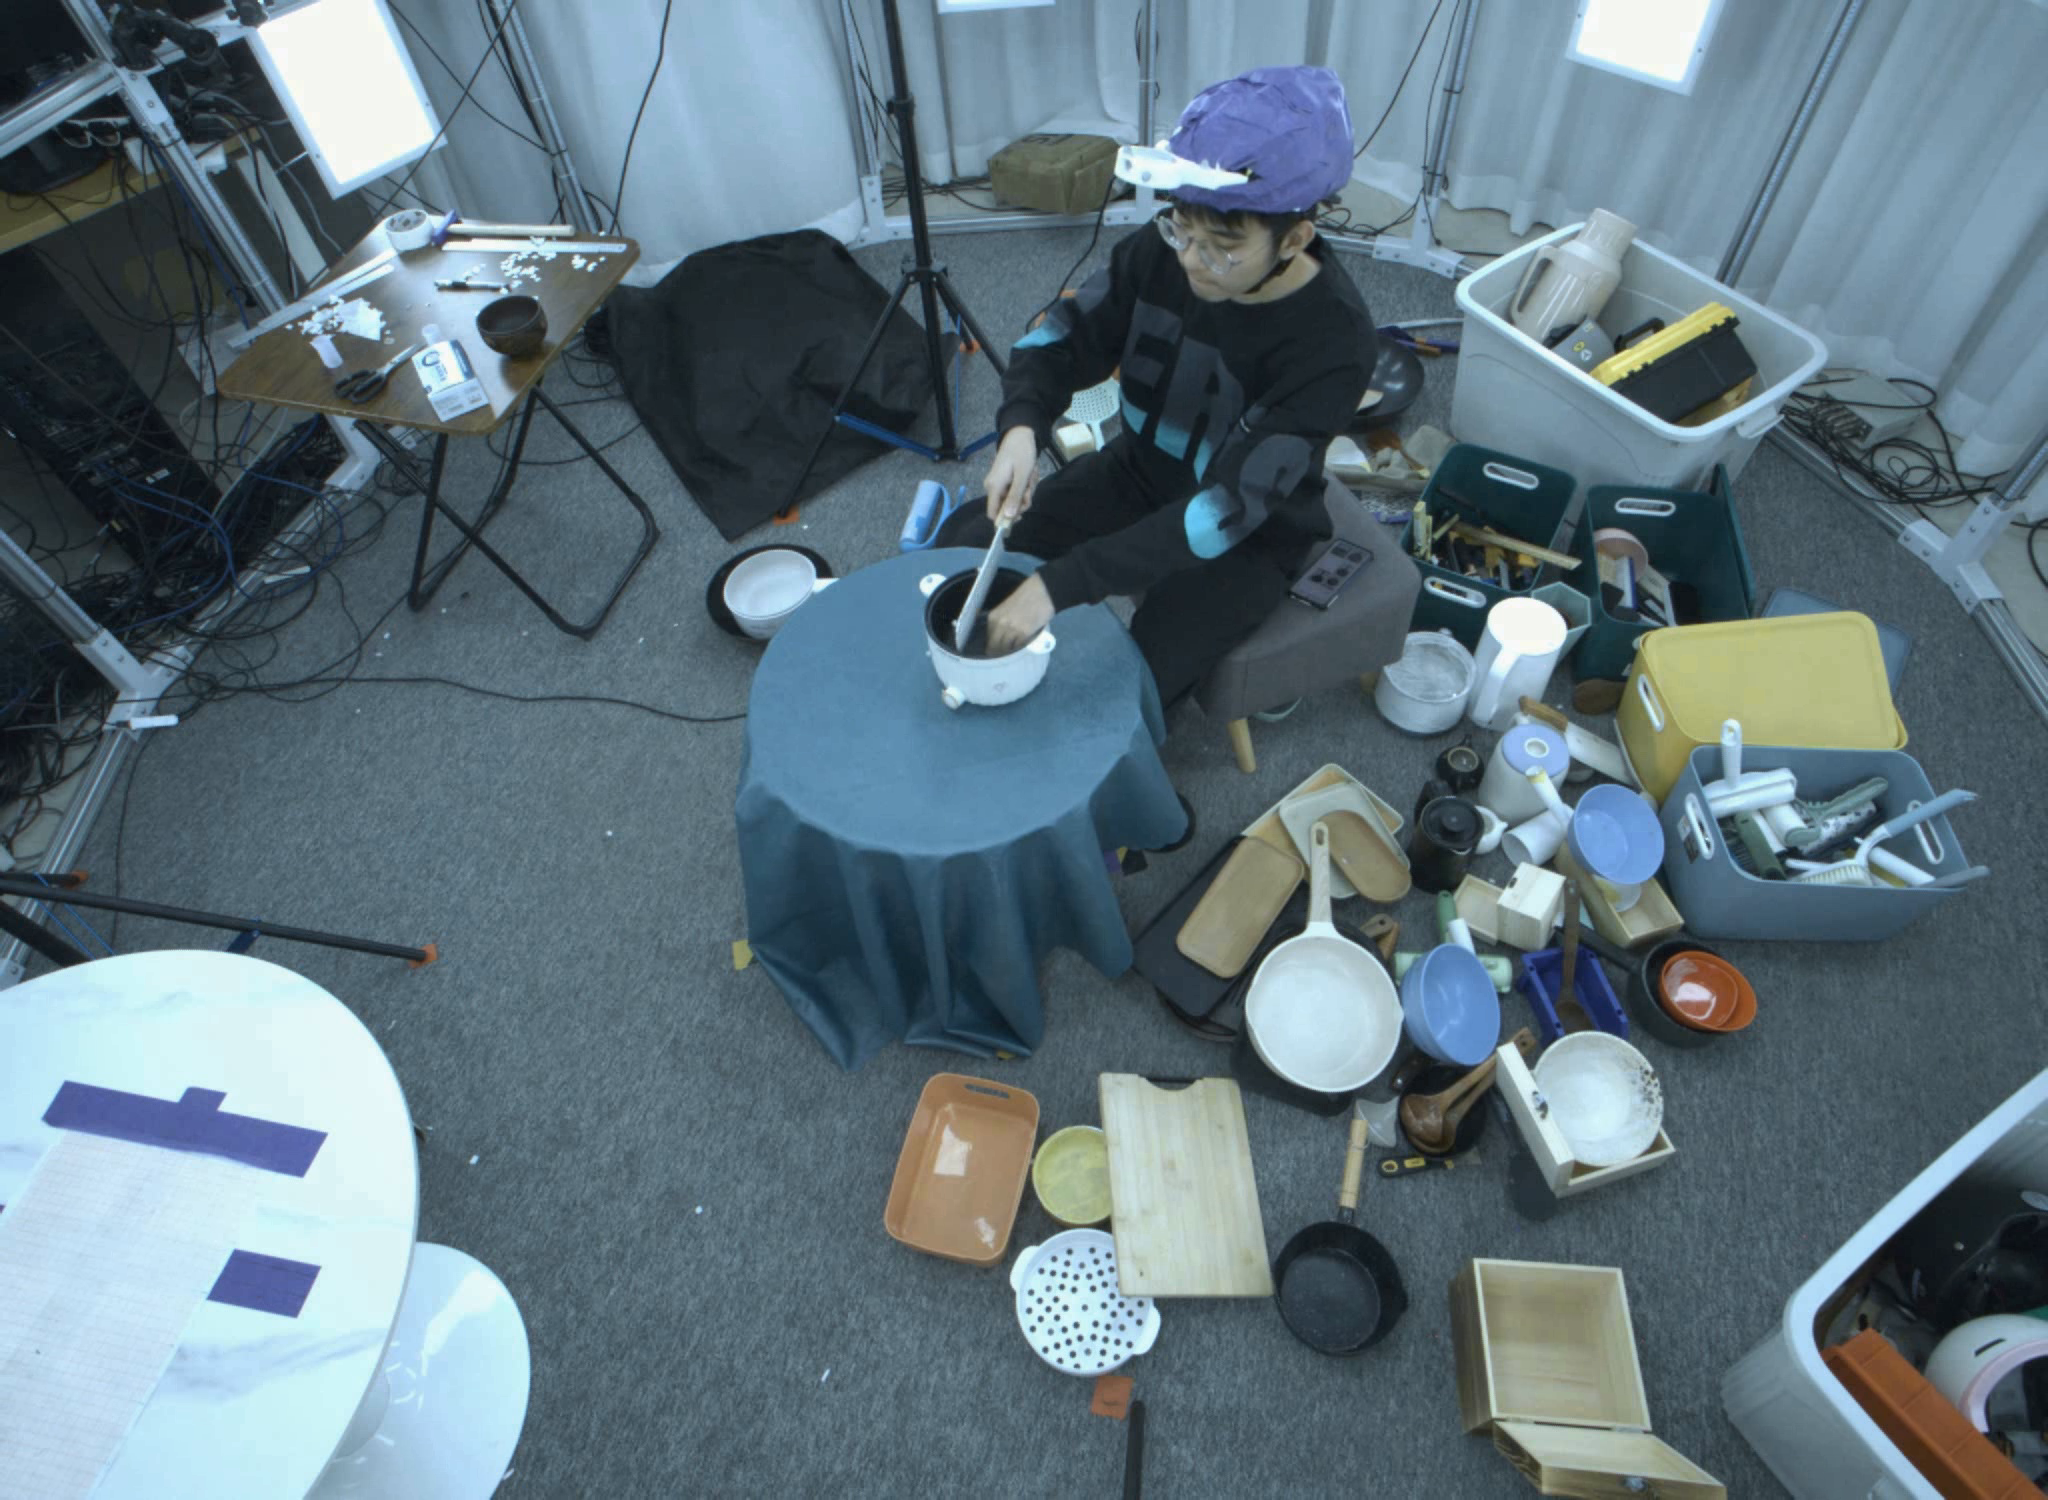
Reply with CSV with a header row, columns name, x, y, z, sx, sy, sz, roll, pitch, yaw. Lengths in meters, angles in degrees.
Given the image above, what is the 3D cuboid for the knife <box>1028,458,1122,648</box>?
name,x,y,z,sx,sy,sz,roll,pitch,yaw
knife,0.069,-0.282,1.751,0.021,0.114,0.315,23,78,8

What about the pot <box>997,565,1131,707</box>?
name,x,y,z,sx,sy,sz,roll,pitch,yaw
pot,0.055,-0.157,1.810,0.236,0.144,0.192,34,60,25
